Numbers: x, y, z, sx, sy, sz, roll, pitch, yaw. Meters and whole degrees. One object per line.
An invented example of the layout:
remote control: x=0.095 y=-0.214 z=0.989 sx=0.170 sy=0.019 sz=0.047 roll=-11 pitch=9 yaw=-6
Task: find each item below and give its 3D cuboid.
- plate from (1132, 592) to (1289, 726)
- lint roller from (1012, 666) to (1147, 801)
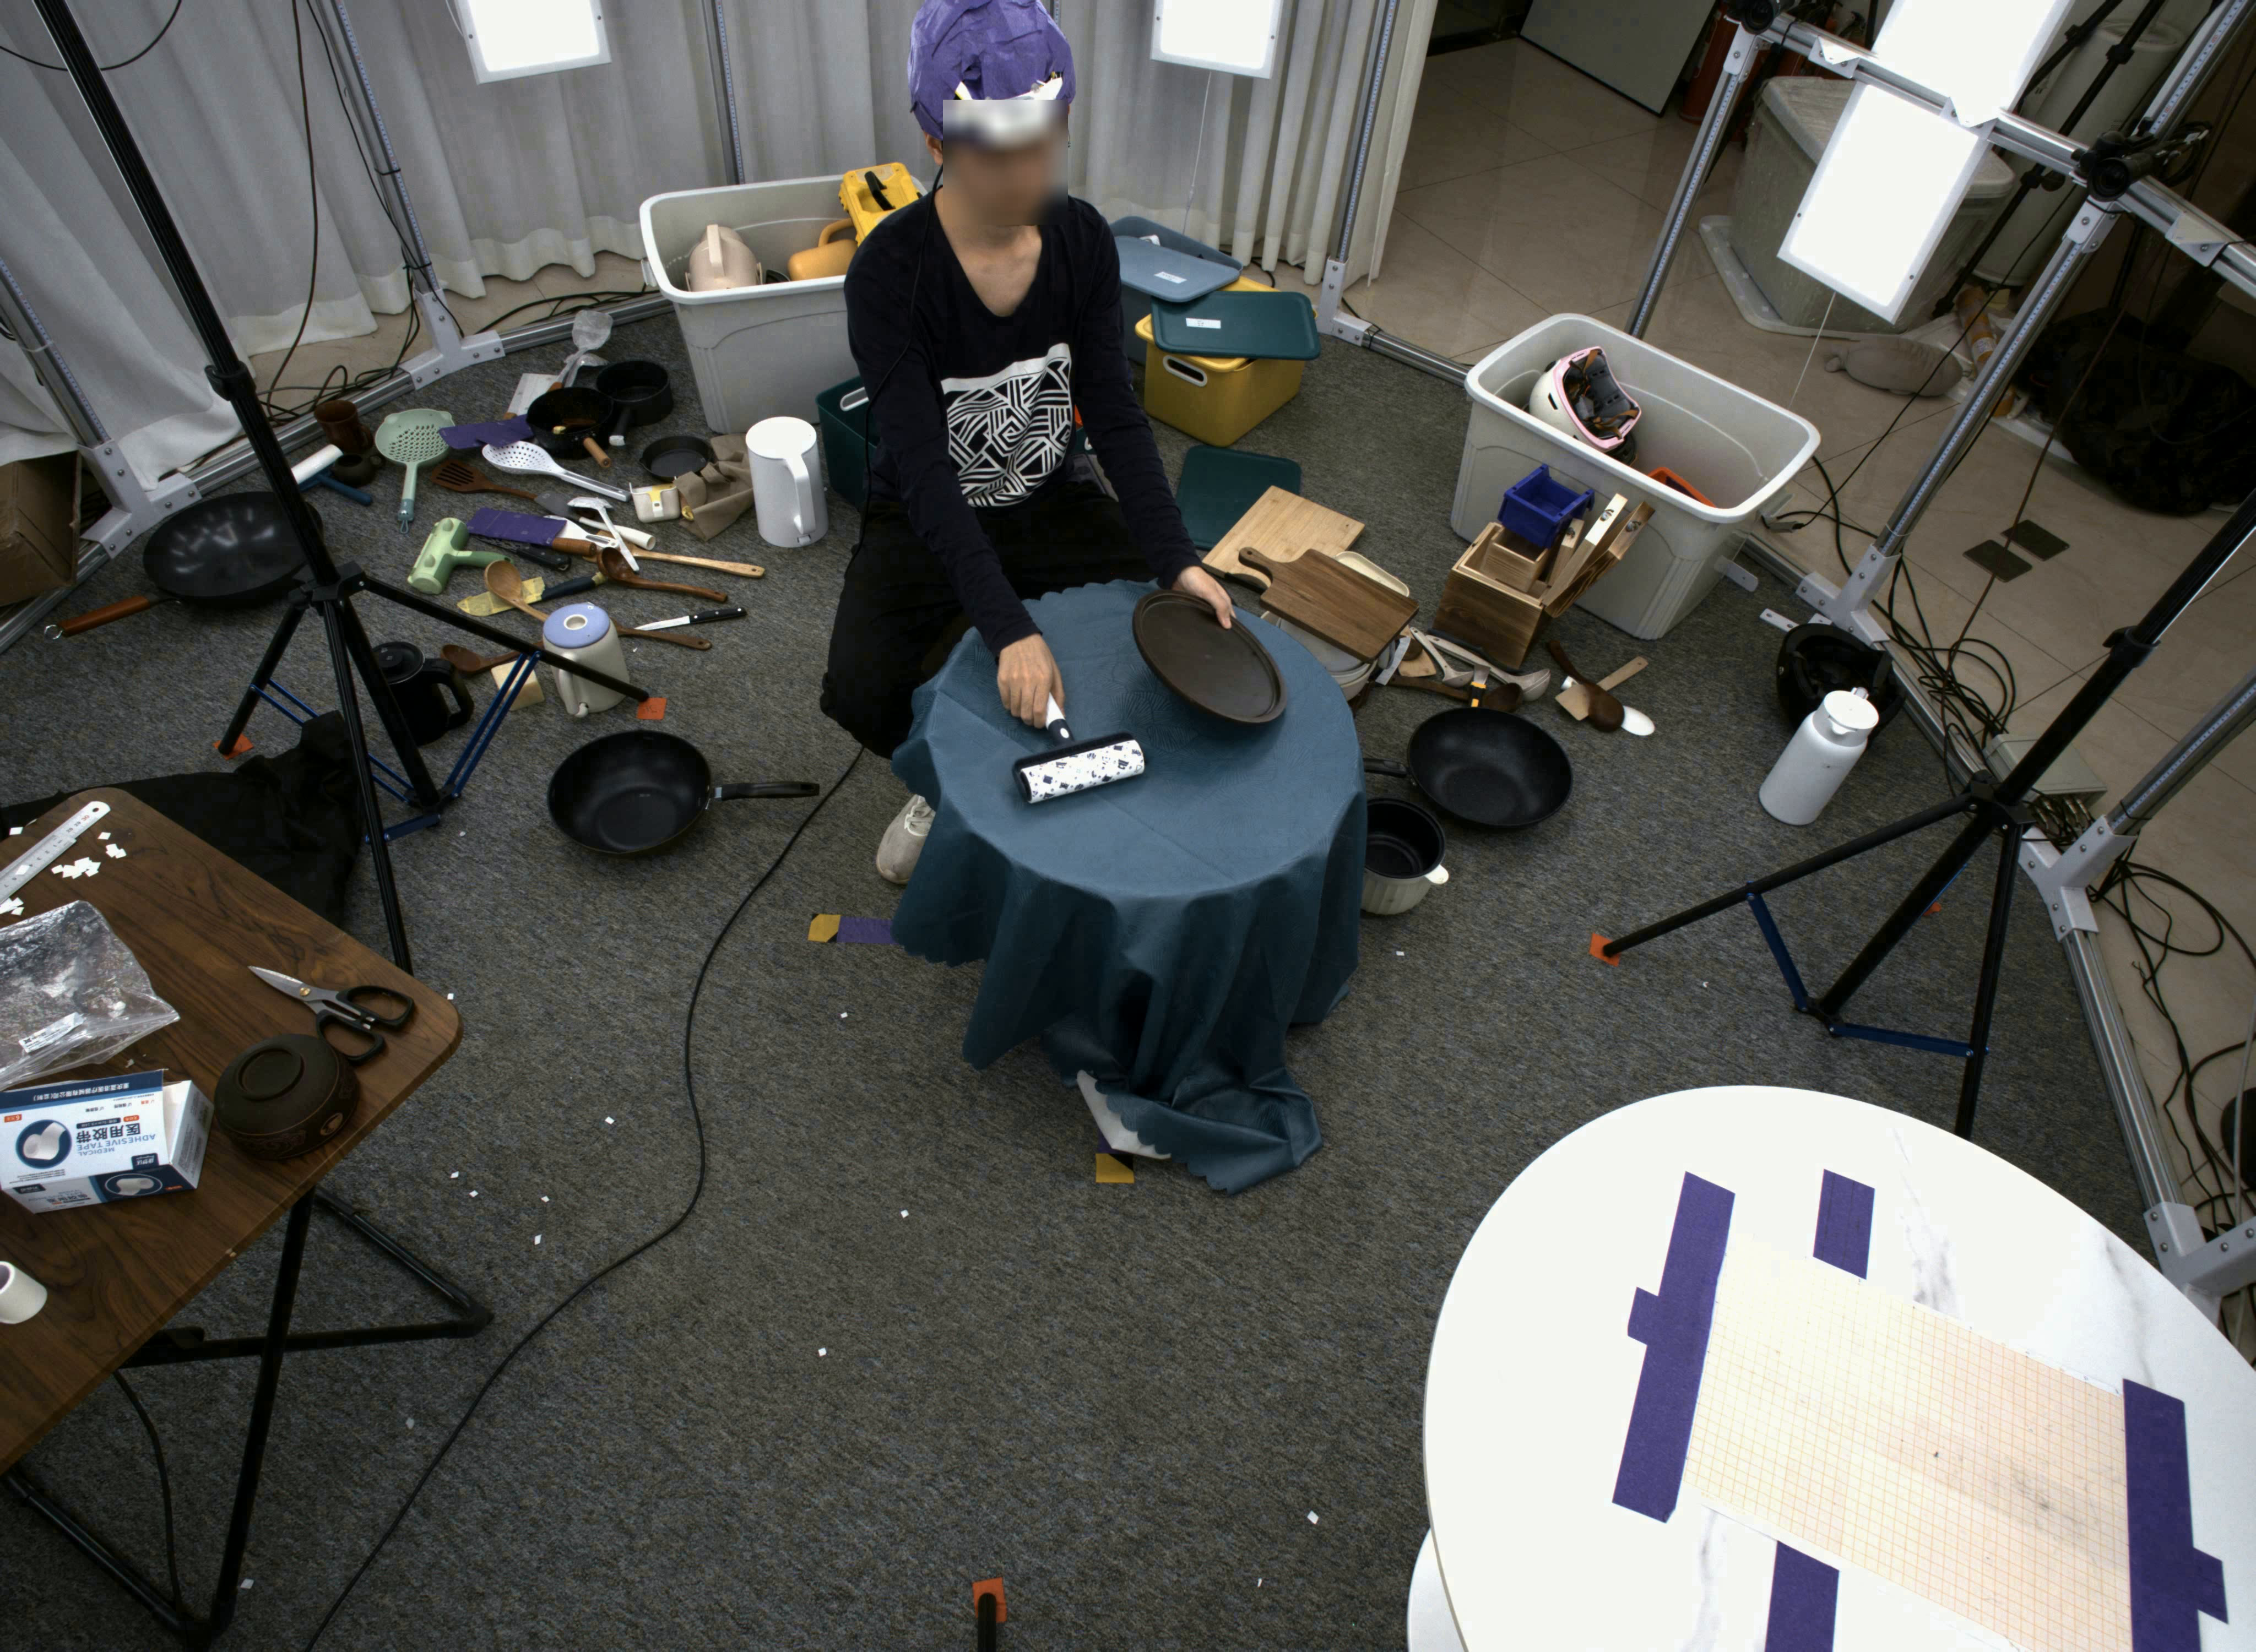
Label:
plate: x=0.115 y=-0.235 z=1.800 sx=0.252 sy=0.028 sz=0.261 roll=22 pitch=39 yaw=-19
lint roller: x=-0.101 y=-0.145 z=1.759 sx=0.176 sy=0.049 sz=0.253 roll=-17 pitch=50 yaw=-15
